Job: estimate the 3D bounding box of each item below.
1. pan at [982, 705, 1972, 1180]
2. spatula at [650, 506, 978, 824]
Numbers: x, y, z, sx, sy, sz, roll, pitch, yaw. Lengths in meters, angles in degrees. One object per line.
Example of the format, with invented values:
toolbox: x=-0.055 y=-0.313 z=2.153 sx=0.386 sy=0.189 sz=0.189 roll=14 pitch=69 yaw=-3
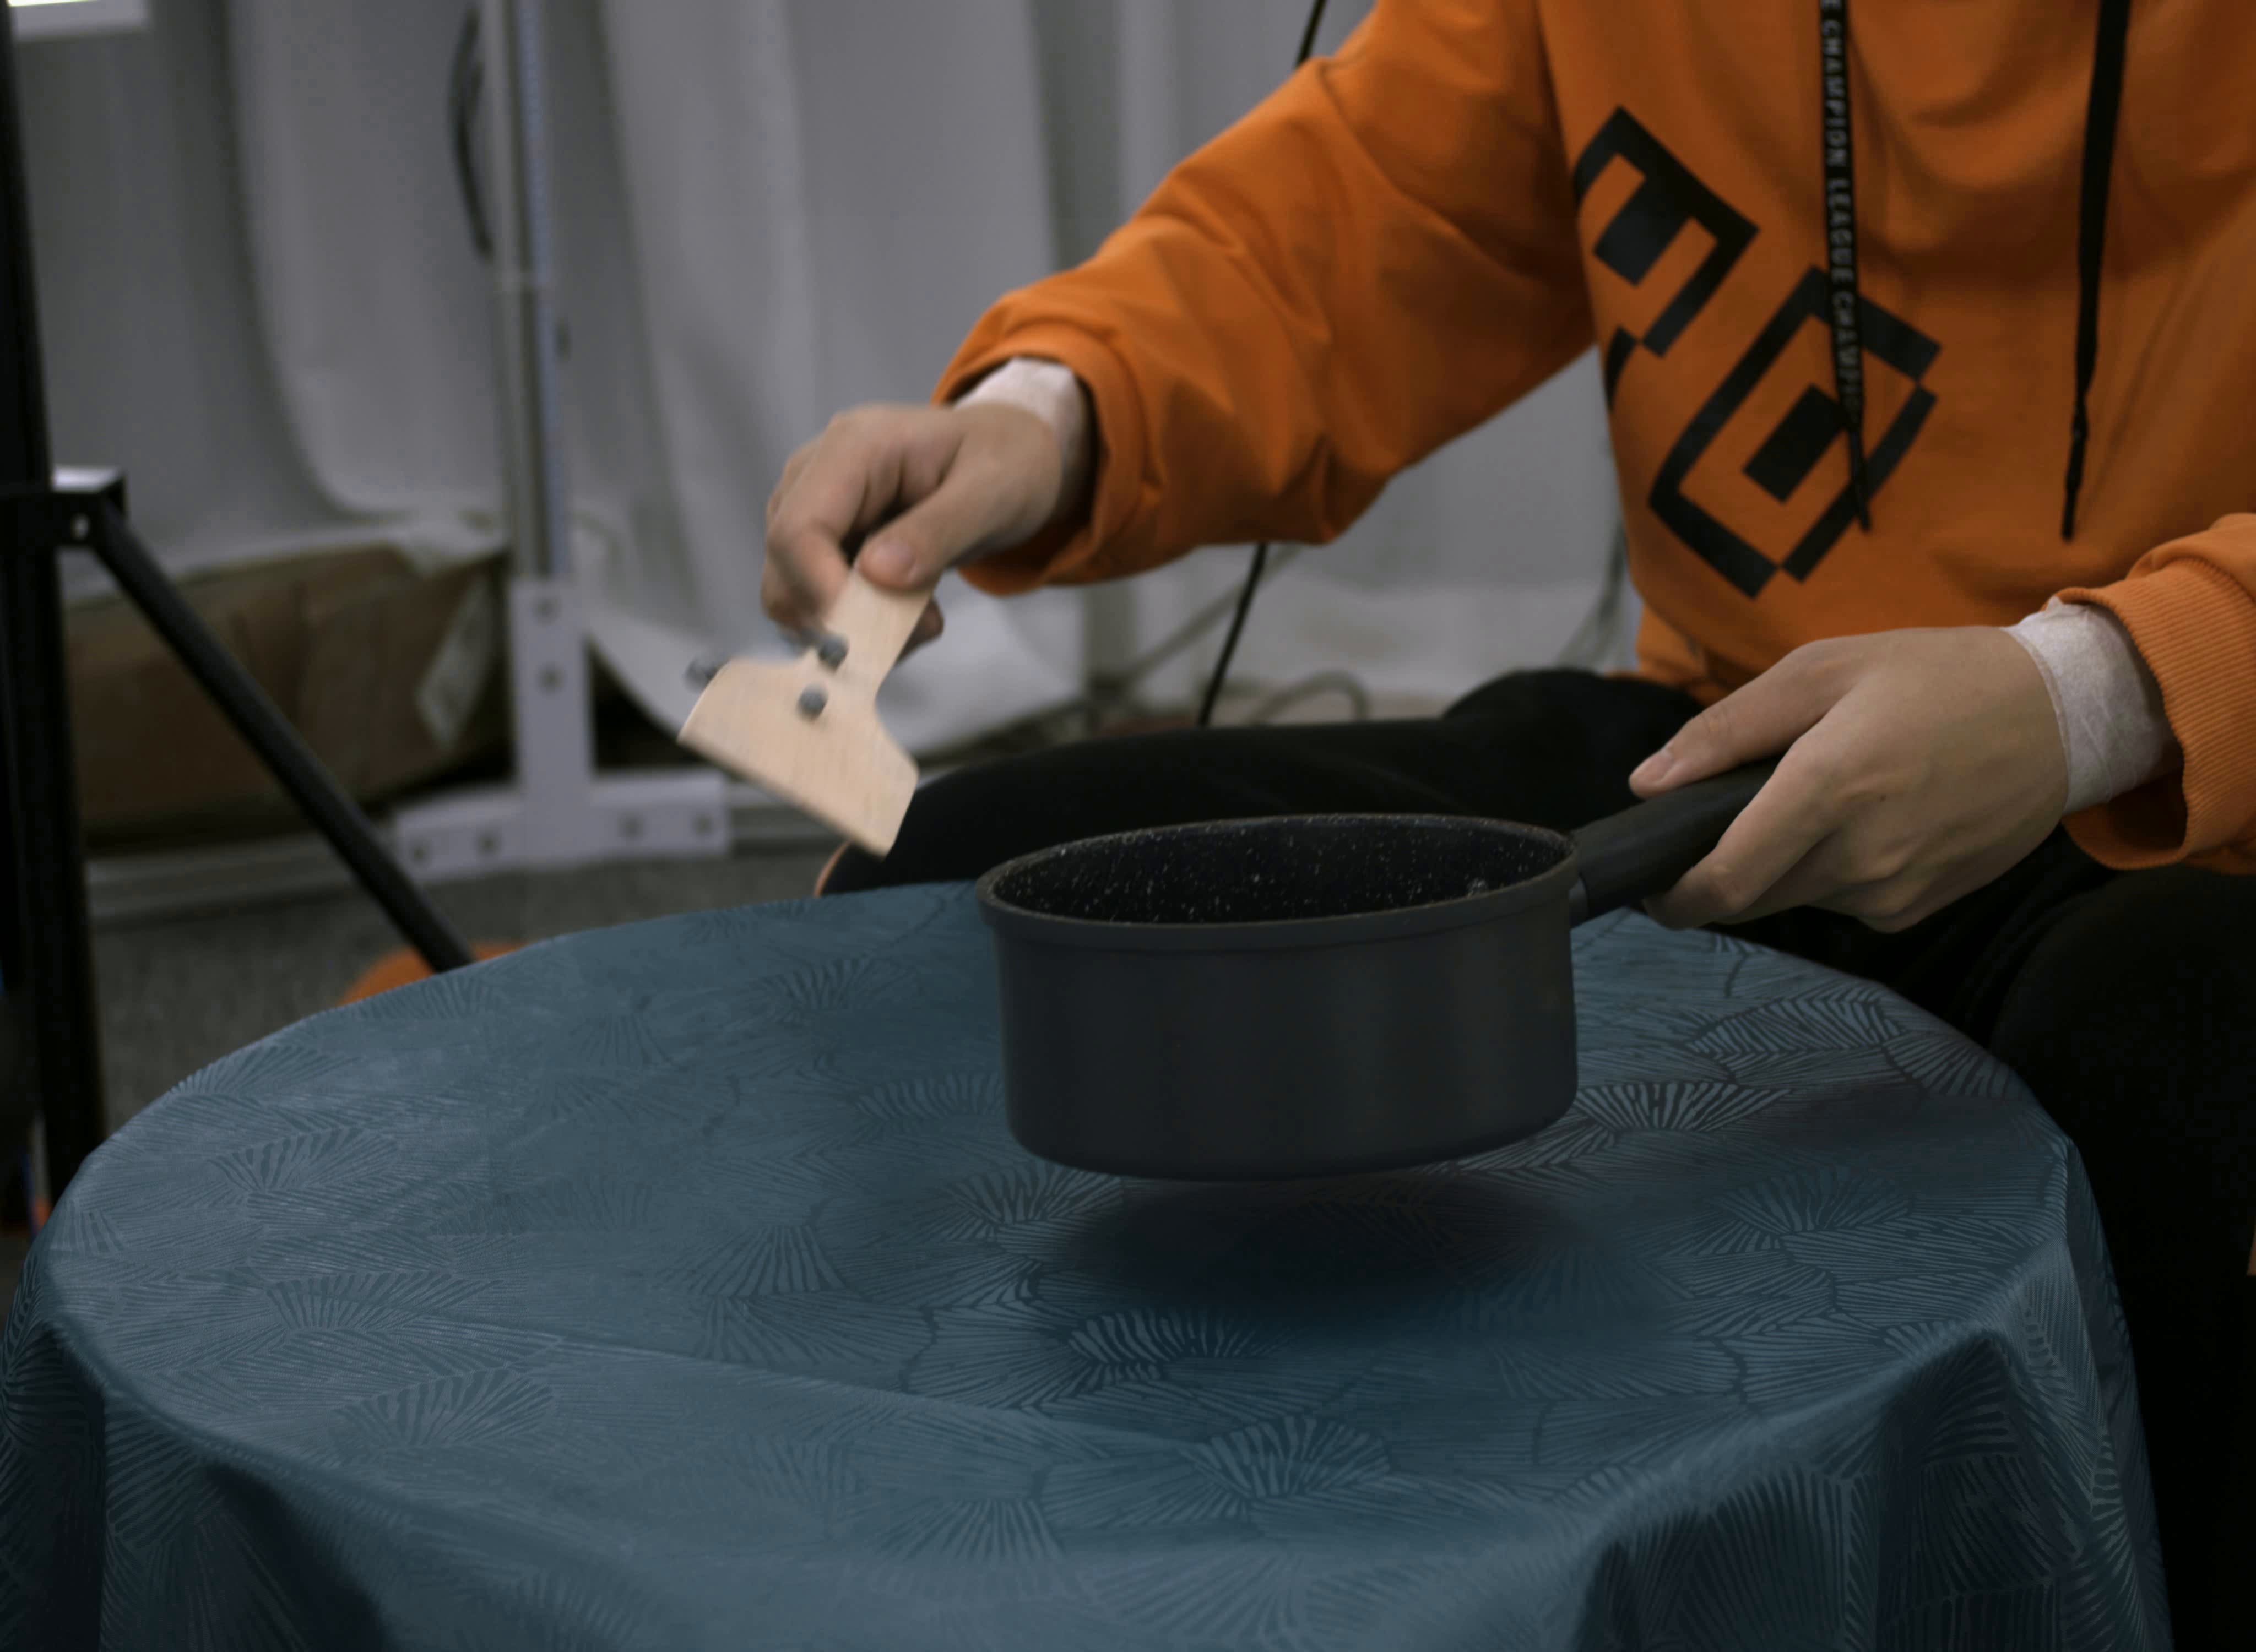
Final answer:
pan: x=0.112 y=0.032 z=1.538 sx=0.321 sy=0.086 sz=0.175 roll=-11 pitch=12 yaw=-29
spatula: x=-0.087 y=-0.060 z=1.668 sx=0.072 sy=0.011 sz=0.292 roll=31 pitch=19 yaw=-1
